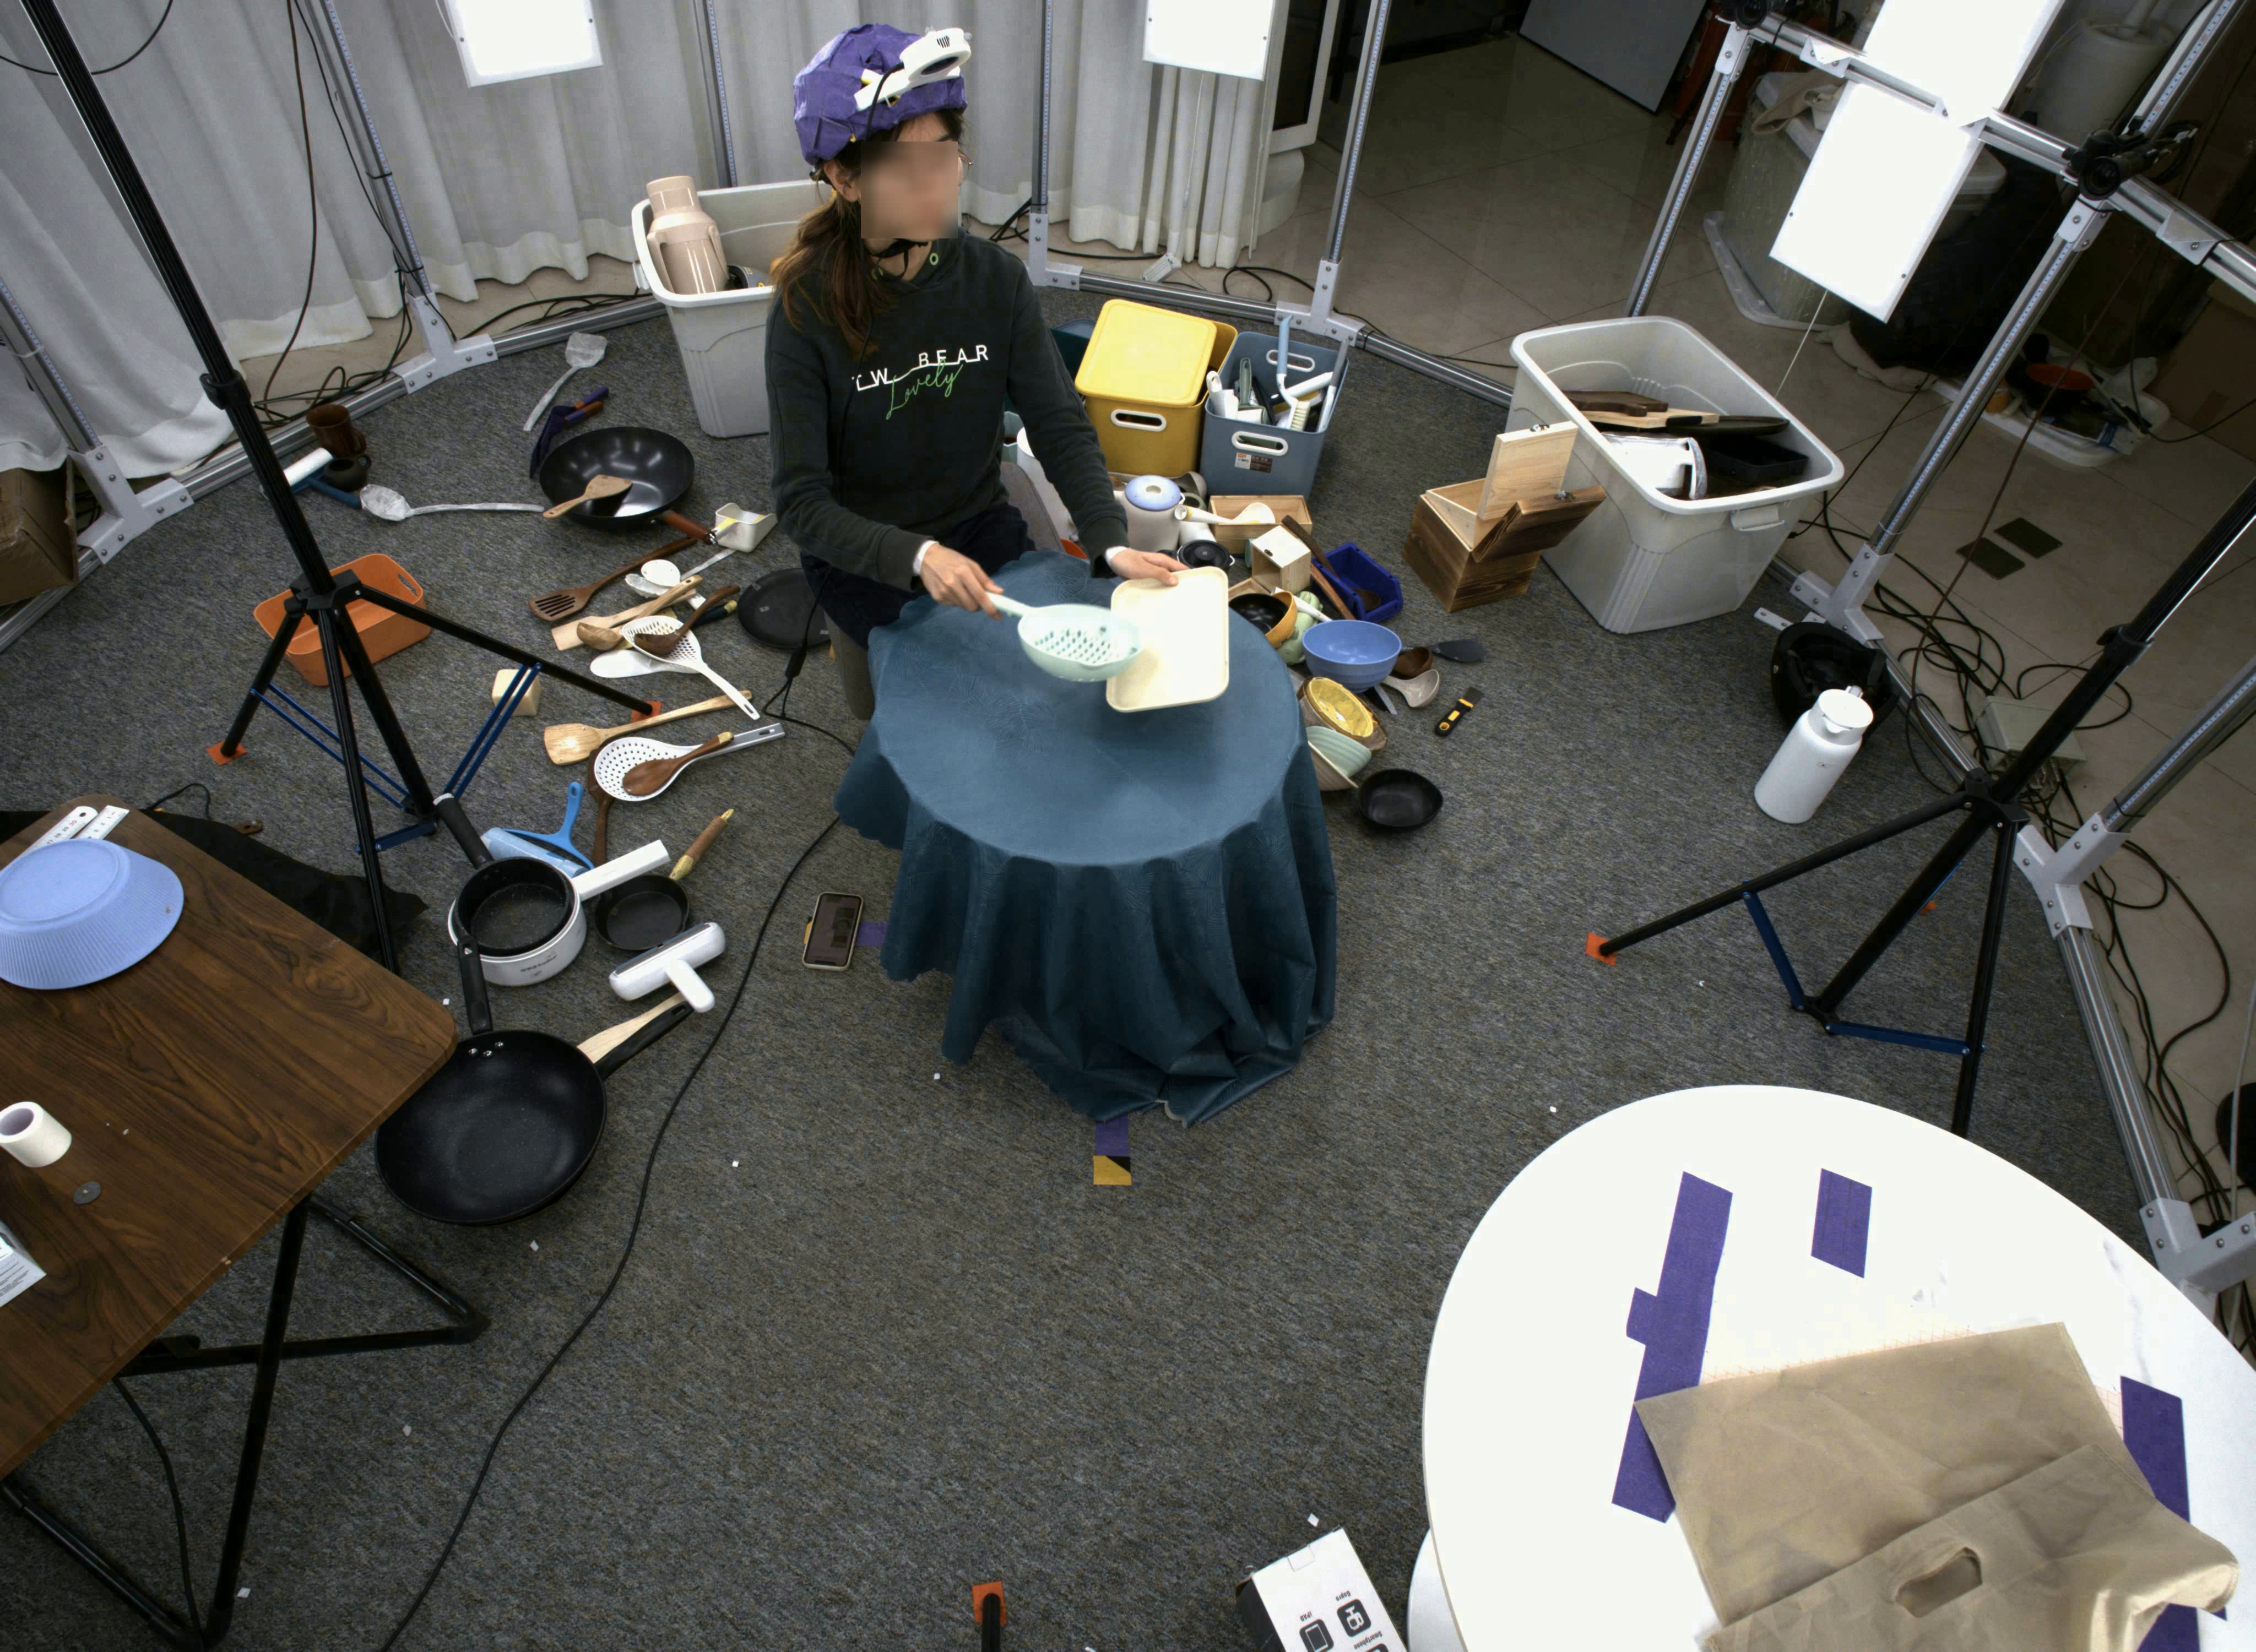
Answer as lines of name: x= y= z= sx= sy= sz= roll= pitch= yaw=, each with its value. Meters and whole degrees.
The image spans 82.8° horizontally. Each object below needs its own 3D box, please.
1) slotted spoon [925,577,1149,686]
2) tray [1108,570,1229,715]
slotted spoon: x=-0.142 y=-0.282 z=1.764 sx=0.363 sy=0.074 sz=0.170 roll=34 pitch=38 yaw=23
tray: x=0.058 y=-0.256 z=1.788 sx=0.171 sy=0.017 sz=0.245 roll=-8 pitch=53 yaw=14
